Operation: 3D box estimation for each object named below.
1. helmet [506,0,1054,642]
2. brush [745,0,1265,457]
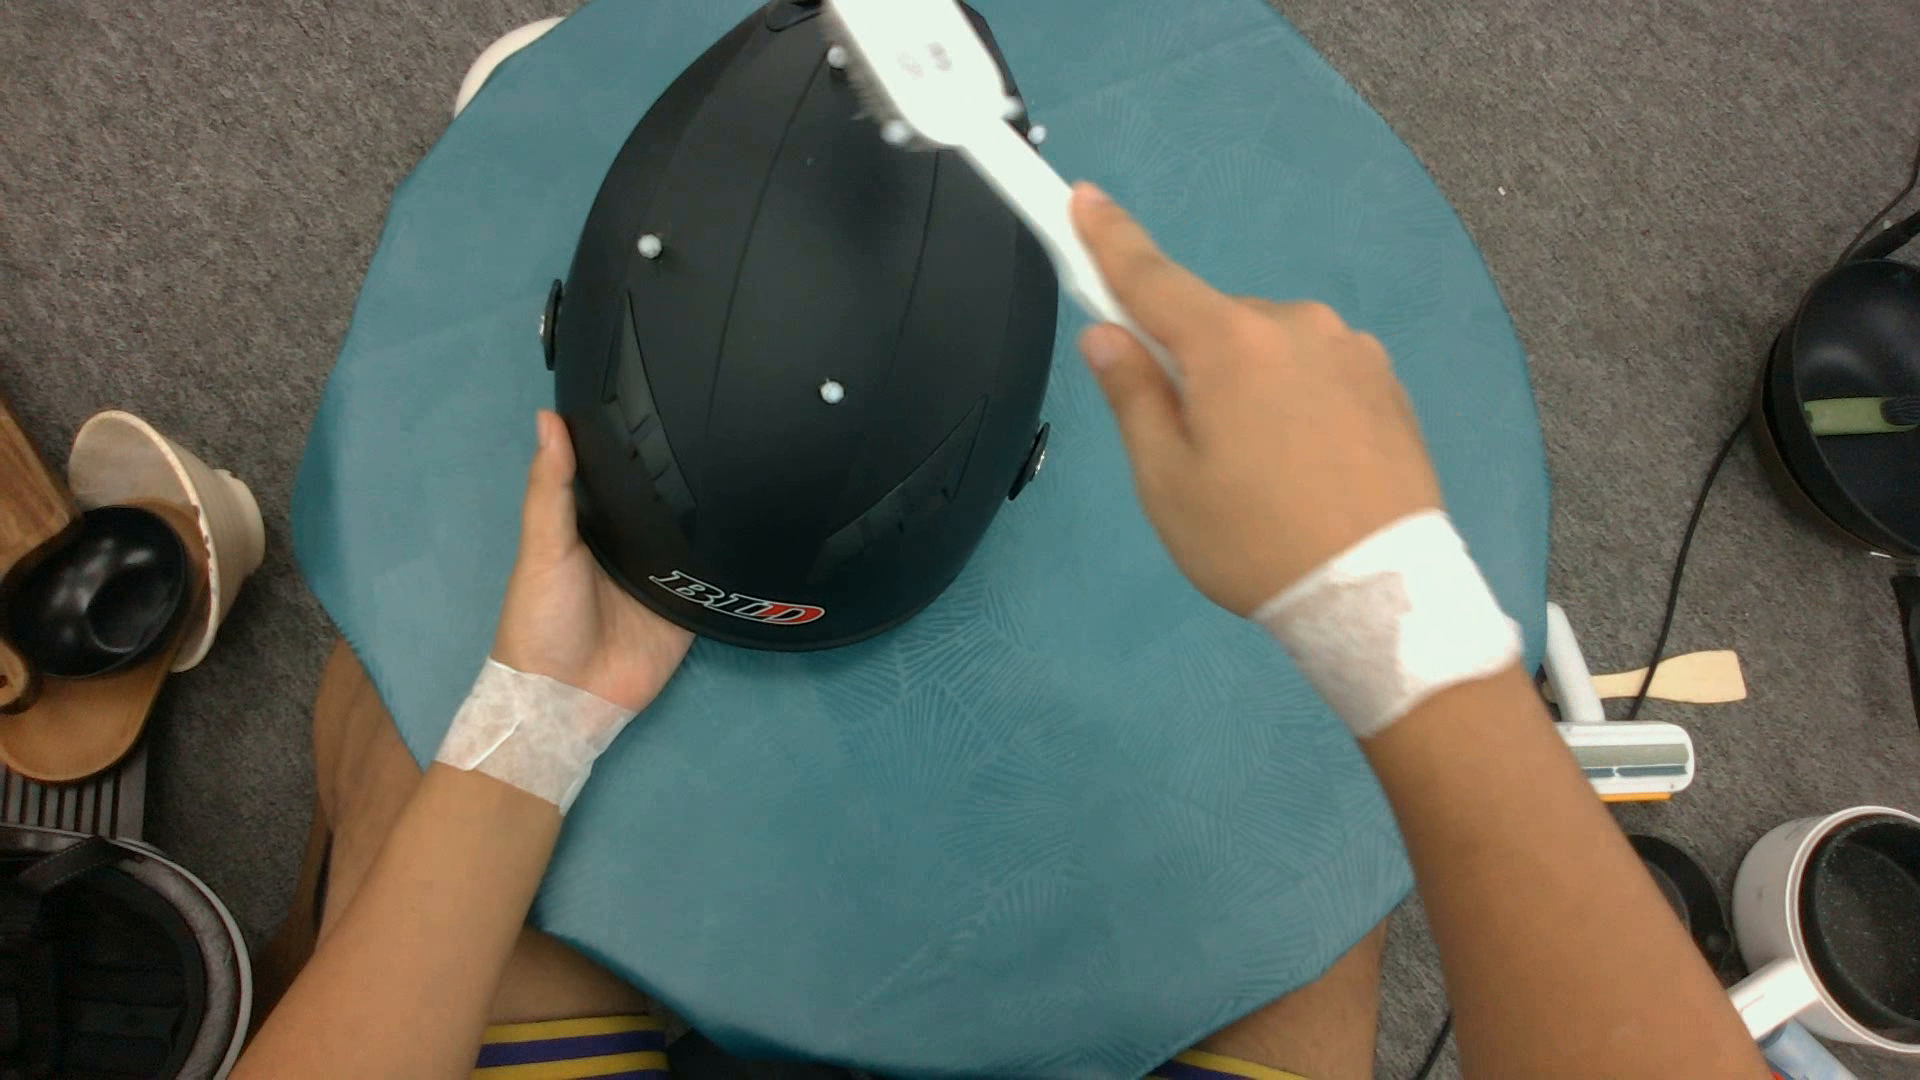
[{"bbox_3d":[-0.068,-0.108,0.590,0.247,0.172,0.277,16,68,-7],"label":"helmet"},{"bbox_3d":[0.009,-0.111,0.455,0.034,0.050,0.244,-40,75,-6],"label":"brush"}]
